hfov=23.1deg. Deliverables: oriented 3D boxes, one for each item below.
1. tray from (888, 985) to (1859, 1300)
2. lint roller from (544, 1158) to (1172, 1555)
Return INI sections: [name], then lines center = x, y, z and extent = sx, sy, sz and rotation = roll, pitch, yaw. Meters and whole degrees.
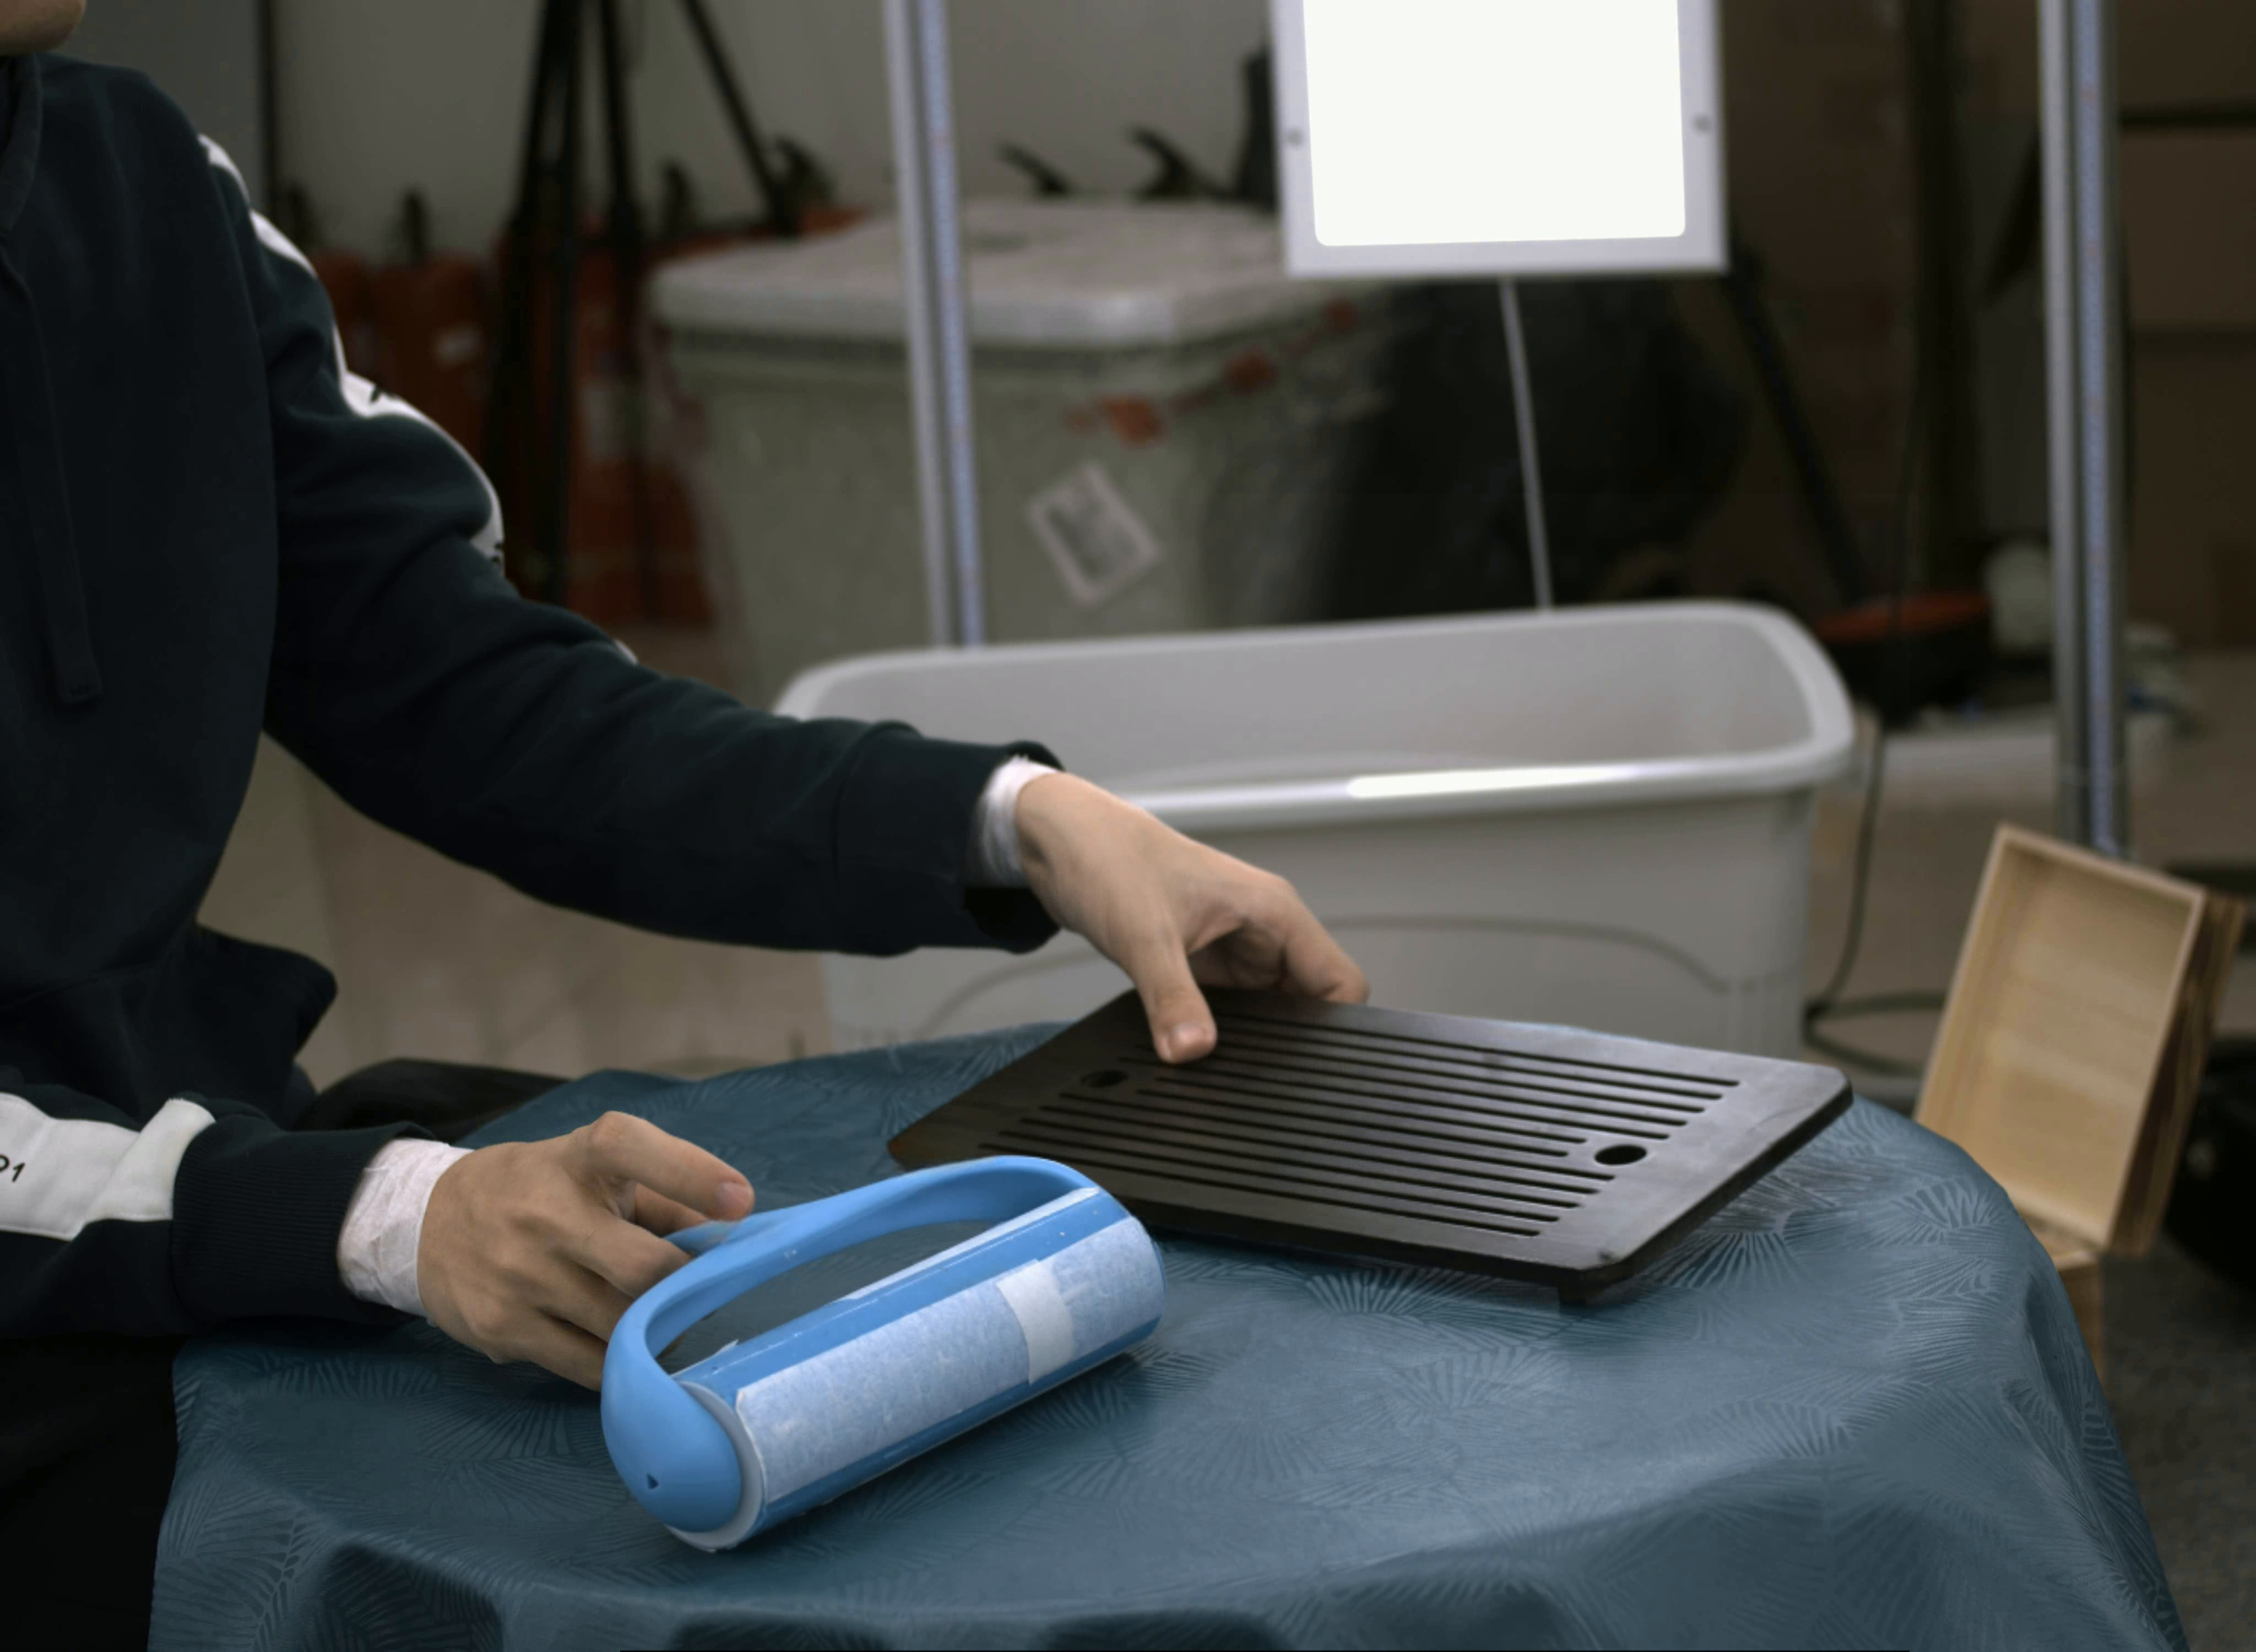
[tray]
center = 0.082, 0.105, 1.880
extent = 0.312, 0.018, 0.166
rotation = 6, 24, 38
[lint roller]
center = -0.113, 0.154, 1.697
extent = 0.184, 0.068, 0.223
rotation = 9, 21, 35
